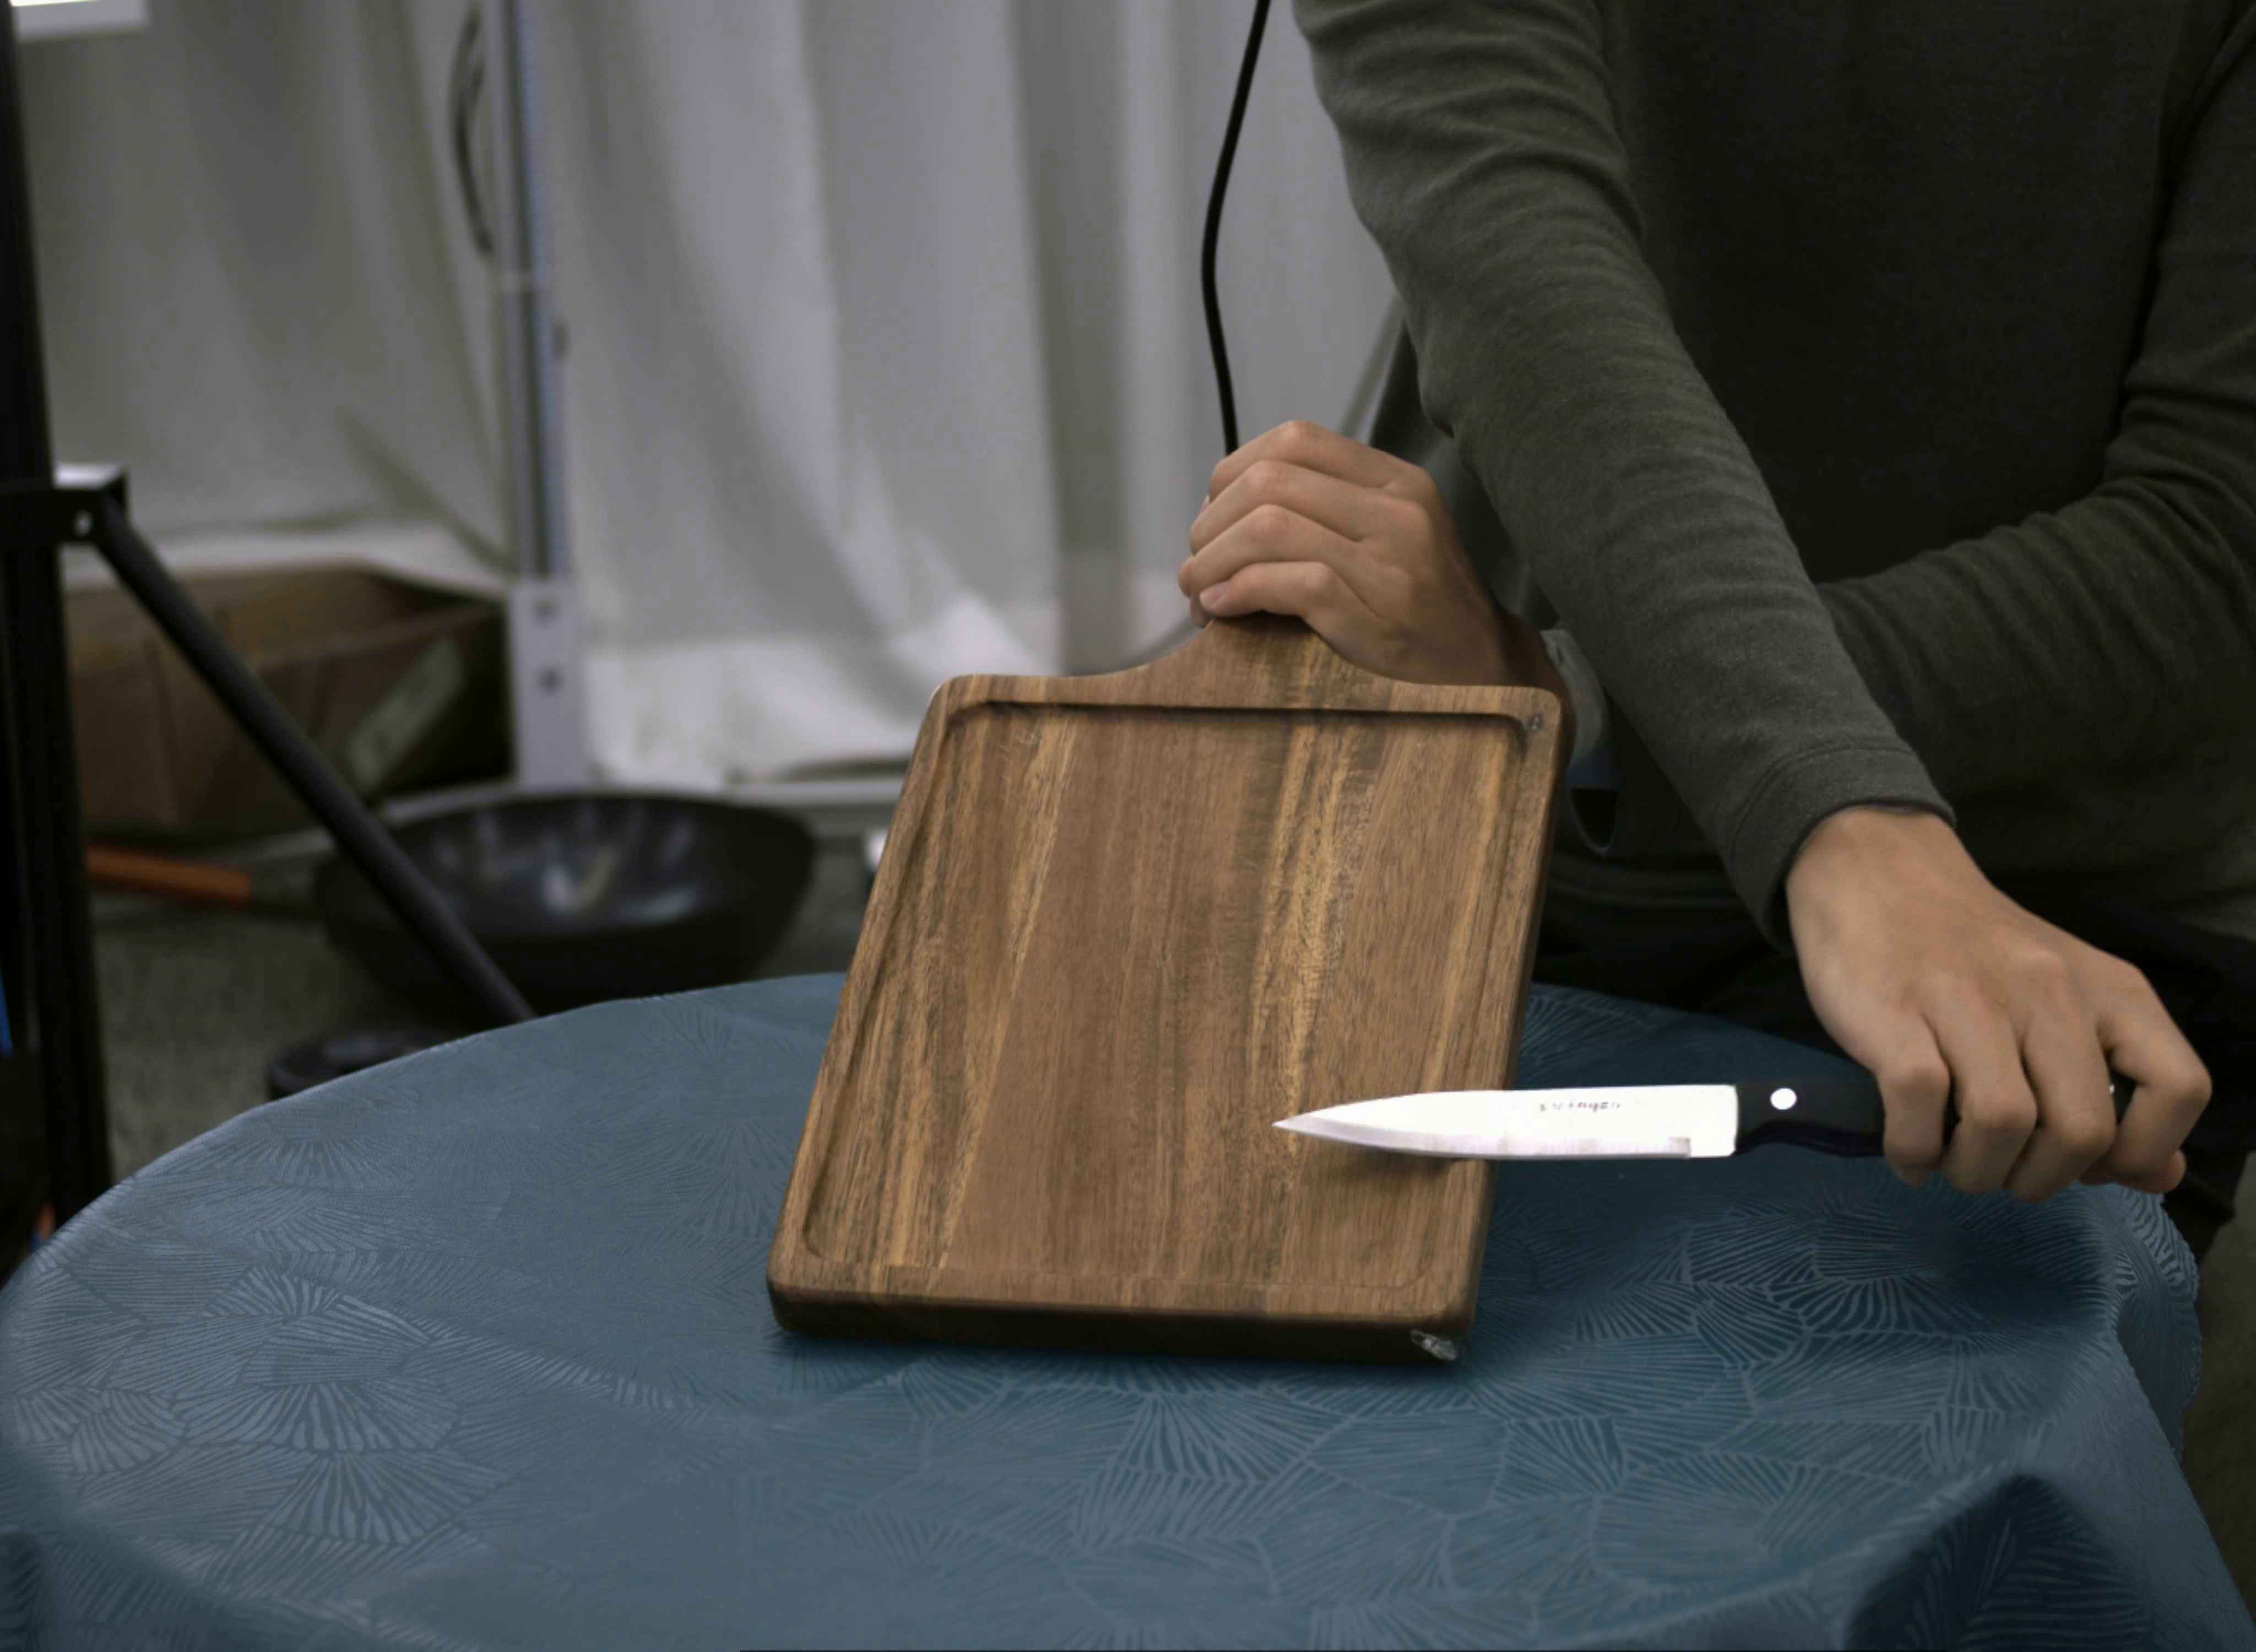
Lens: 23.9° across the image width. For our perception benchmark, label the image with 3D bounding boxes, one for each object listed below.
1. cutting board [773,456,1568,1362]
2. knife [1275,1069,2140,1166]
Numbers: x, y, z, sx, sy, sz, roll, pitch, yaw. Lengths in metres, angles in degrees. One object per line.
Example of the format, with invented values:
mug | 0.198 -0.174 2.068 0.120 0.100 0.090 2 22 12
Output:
cutting board | 0.025 0.014 1.554 0.202 0.023 0.353 0 44 14
knife | 0.159 0.080 1.445 0.237 0.016 0.025 -2 54 3
